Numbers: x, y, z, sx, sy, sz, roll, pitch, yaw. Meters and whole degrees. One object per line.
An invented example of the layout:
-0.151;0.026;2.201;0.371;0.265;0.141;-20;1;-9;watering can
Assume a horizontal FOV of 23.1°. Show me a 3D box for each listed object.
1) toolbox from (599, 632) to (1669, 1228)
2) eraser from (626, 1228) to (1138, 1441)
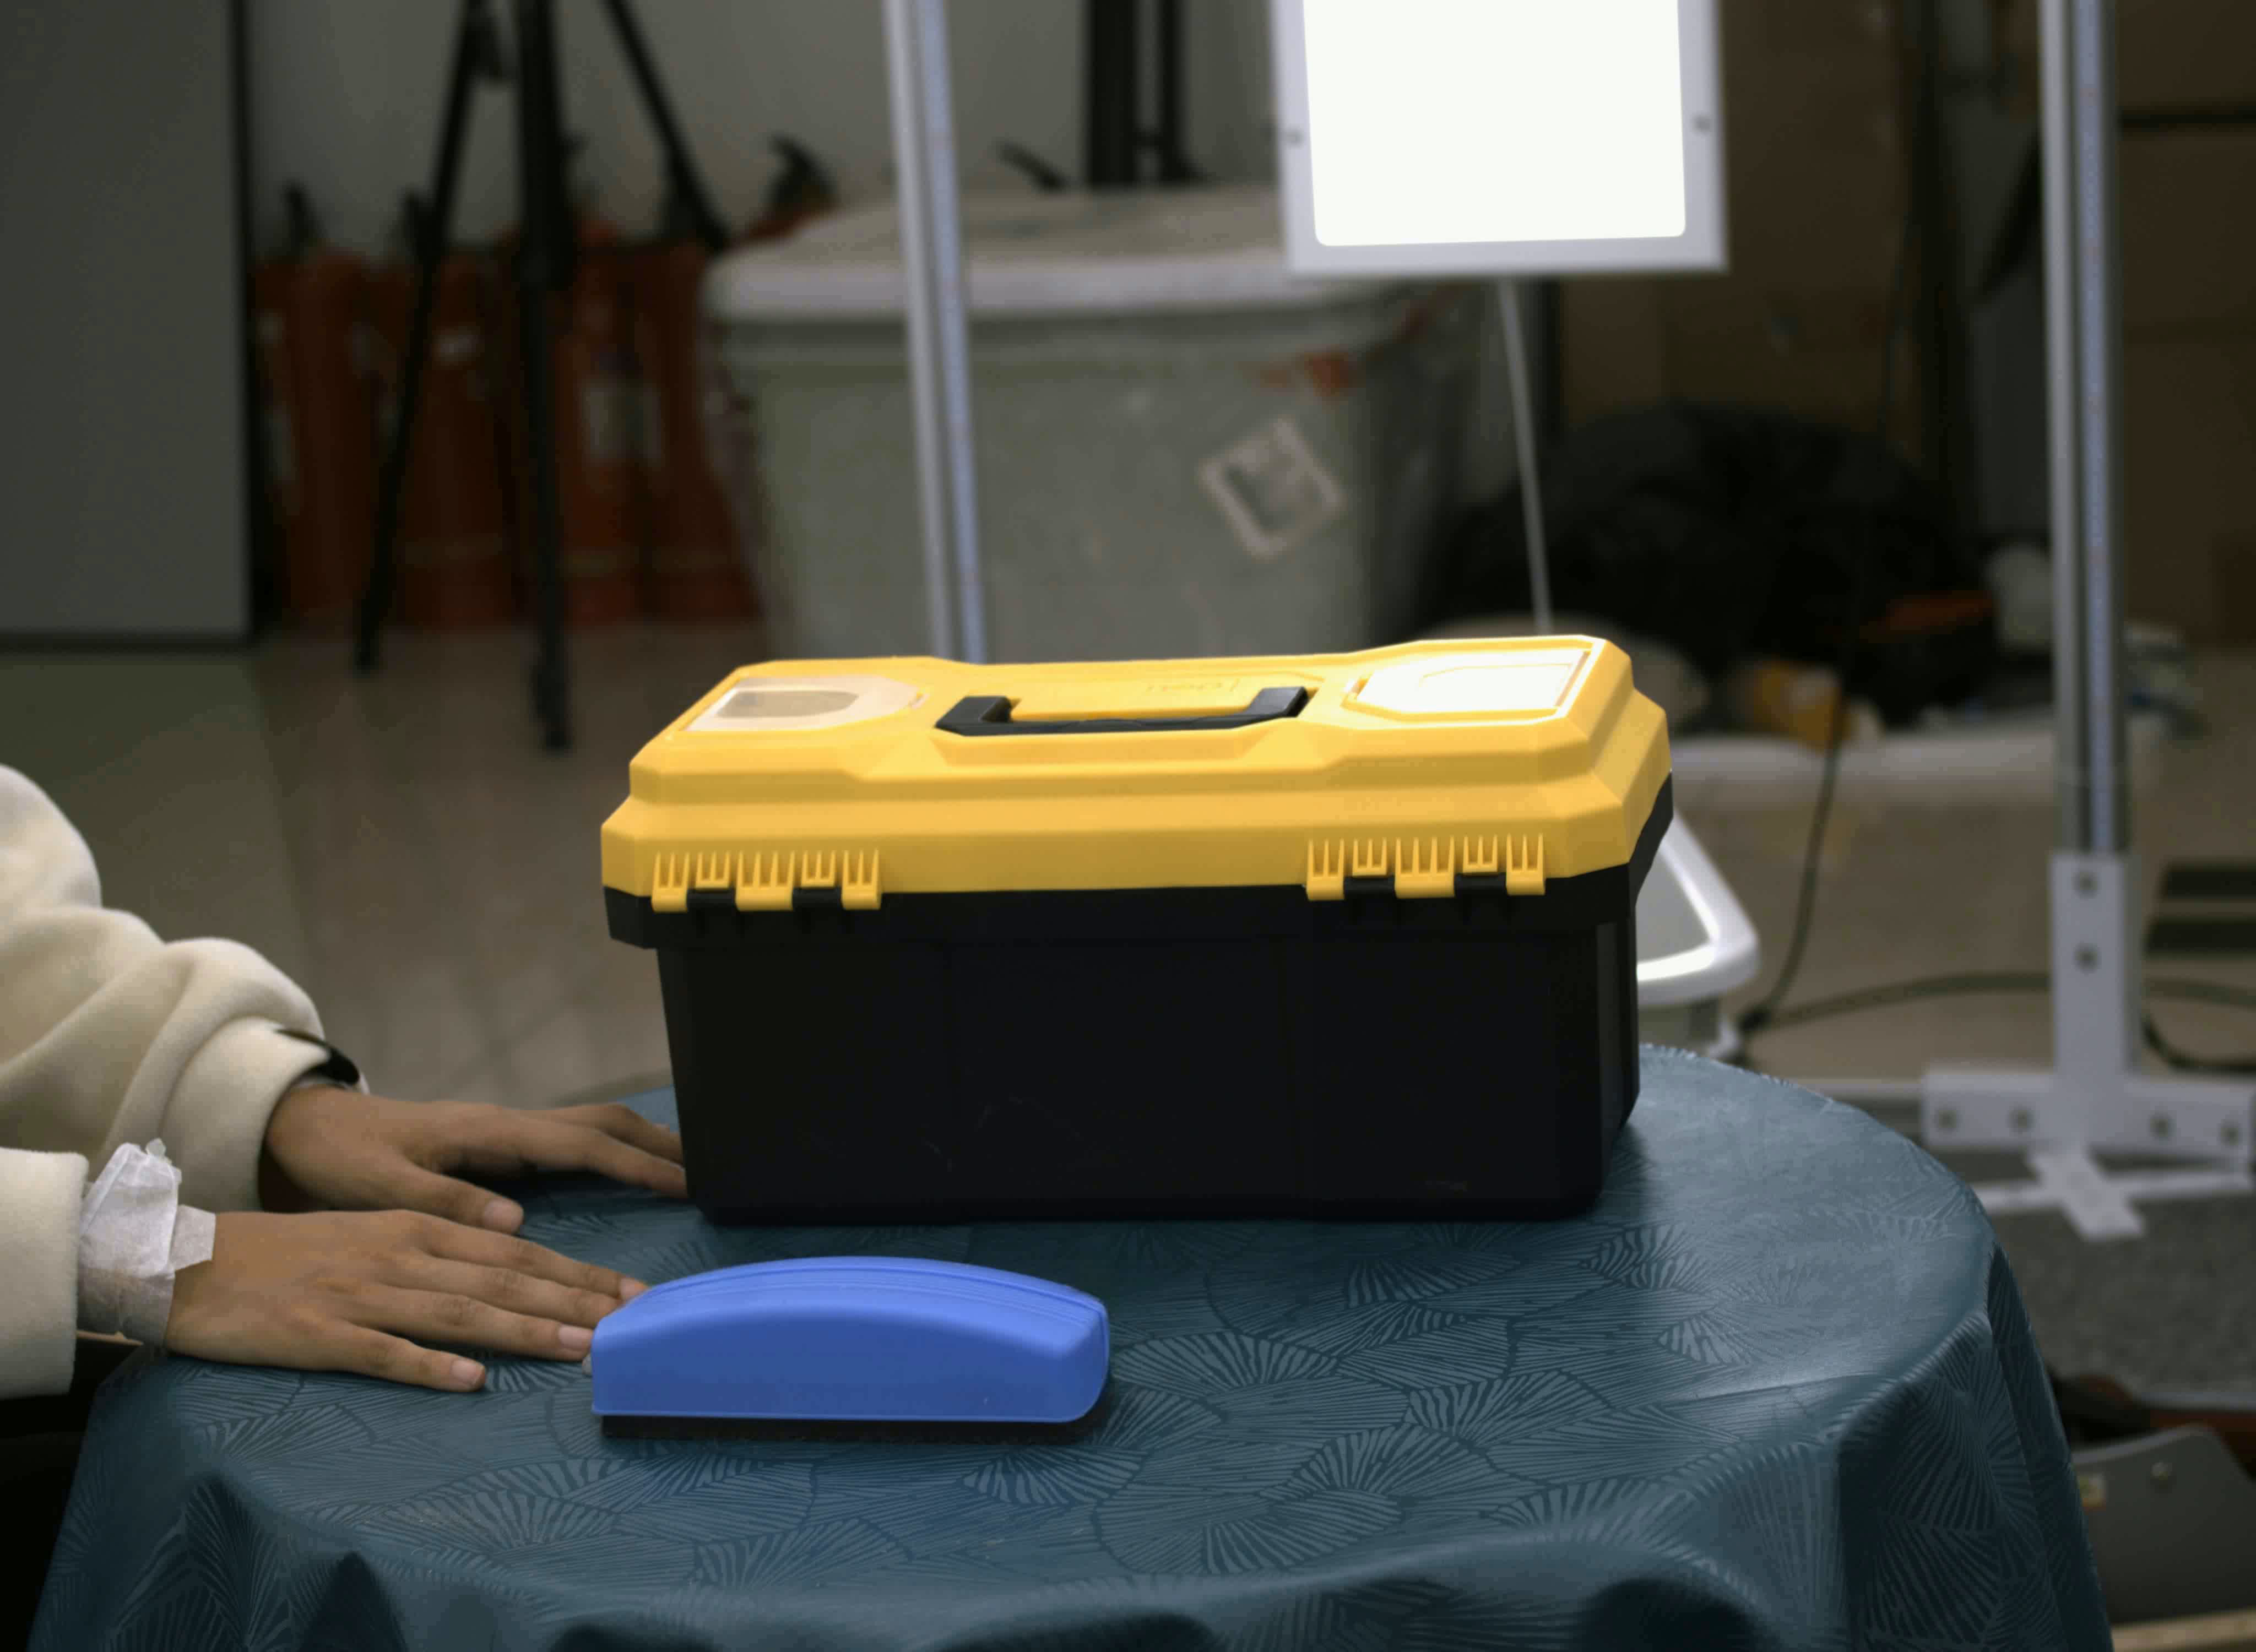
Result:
0.008;0.036;1.900;0.355;0.173;0.179;-1;15;15;toolbox
-0.077;0.153;1.708;0.165;0.048;0.053;4;18;26;eraser
